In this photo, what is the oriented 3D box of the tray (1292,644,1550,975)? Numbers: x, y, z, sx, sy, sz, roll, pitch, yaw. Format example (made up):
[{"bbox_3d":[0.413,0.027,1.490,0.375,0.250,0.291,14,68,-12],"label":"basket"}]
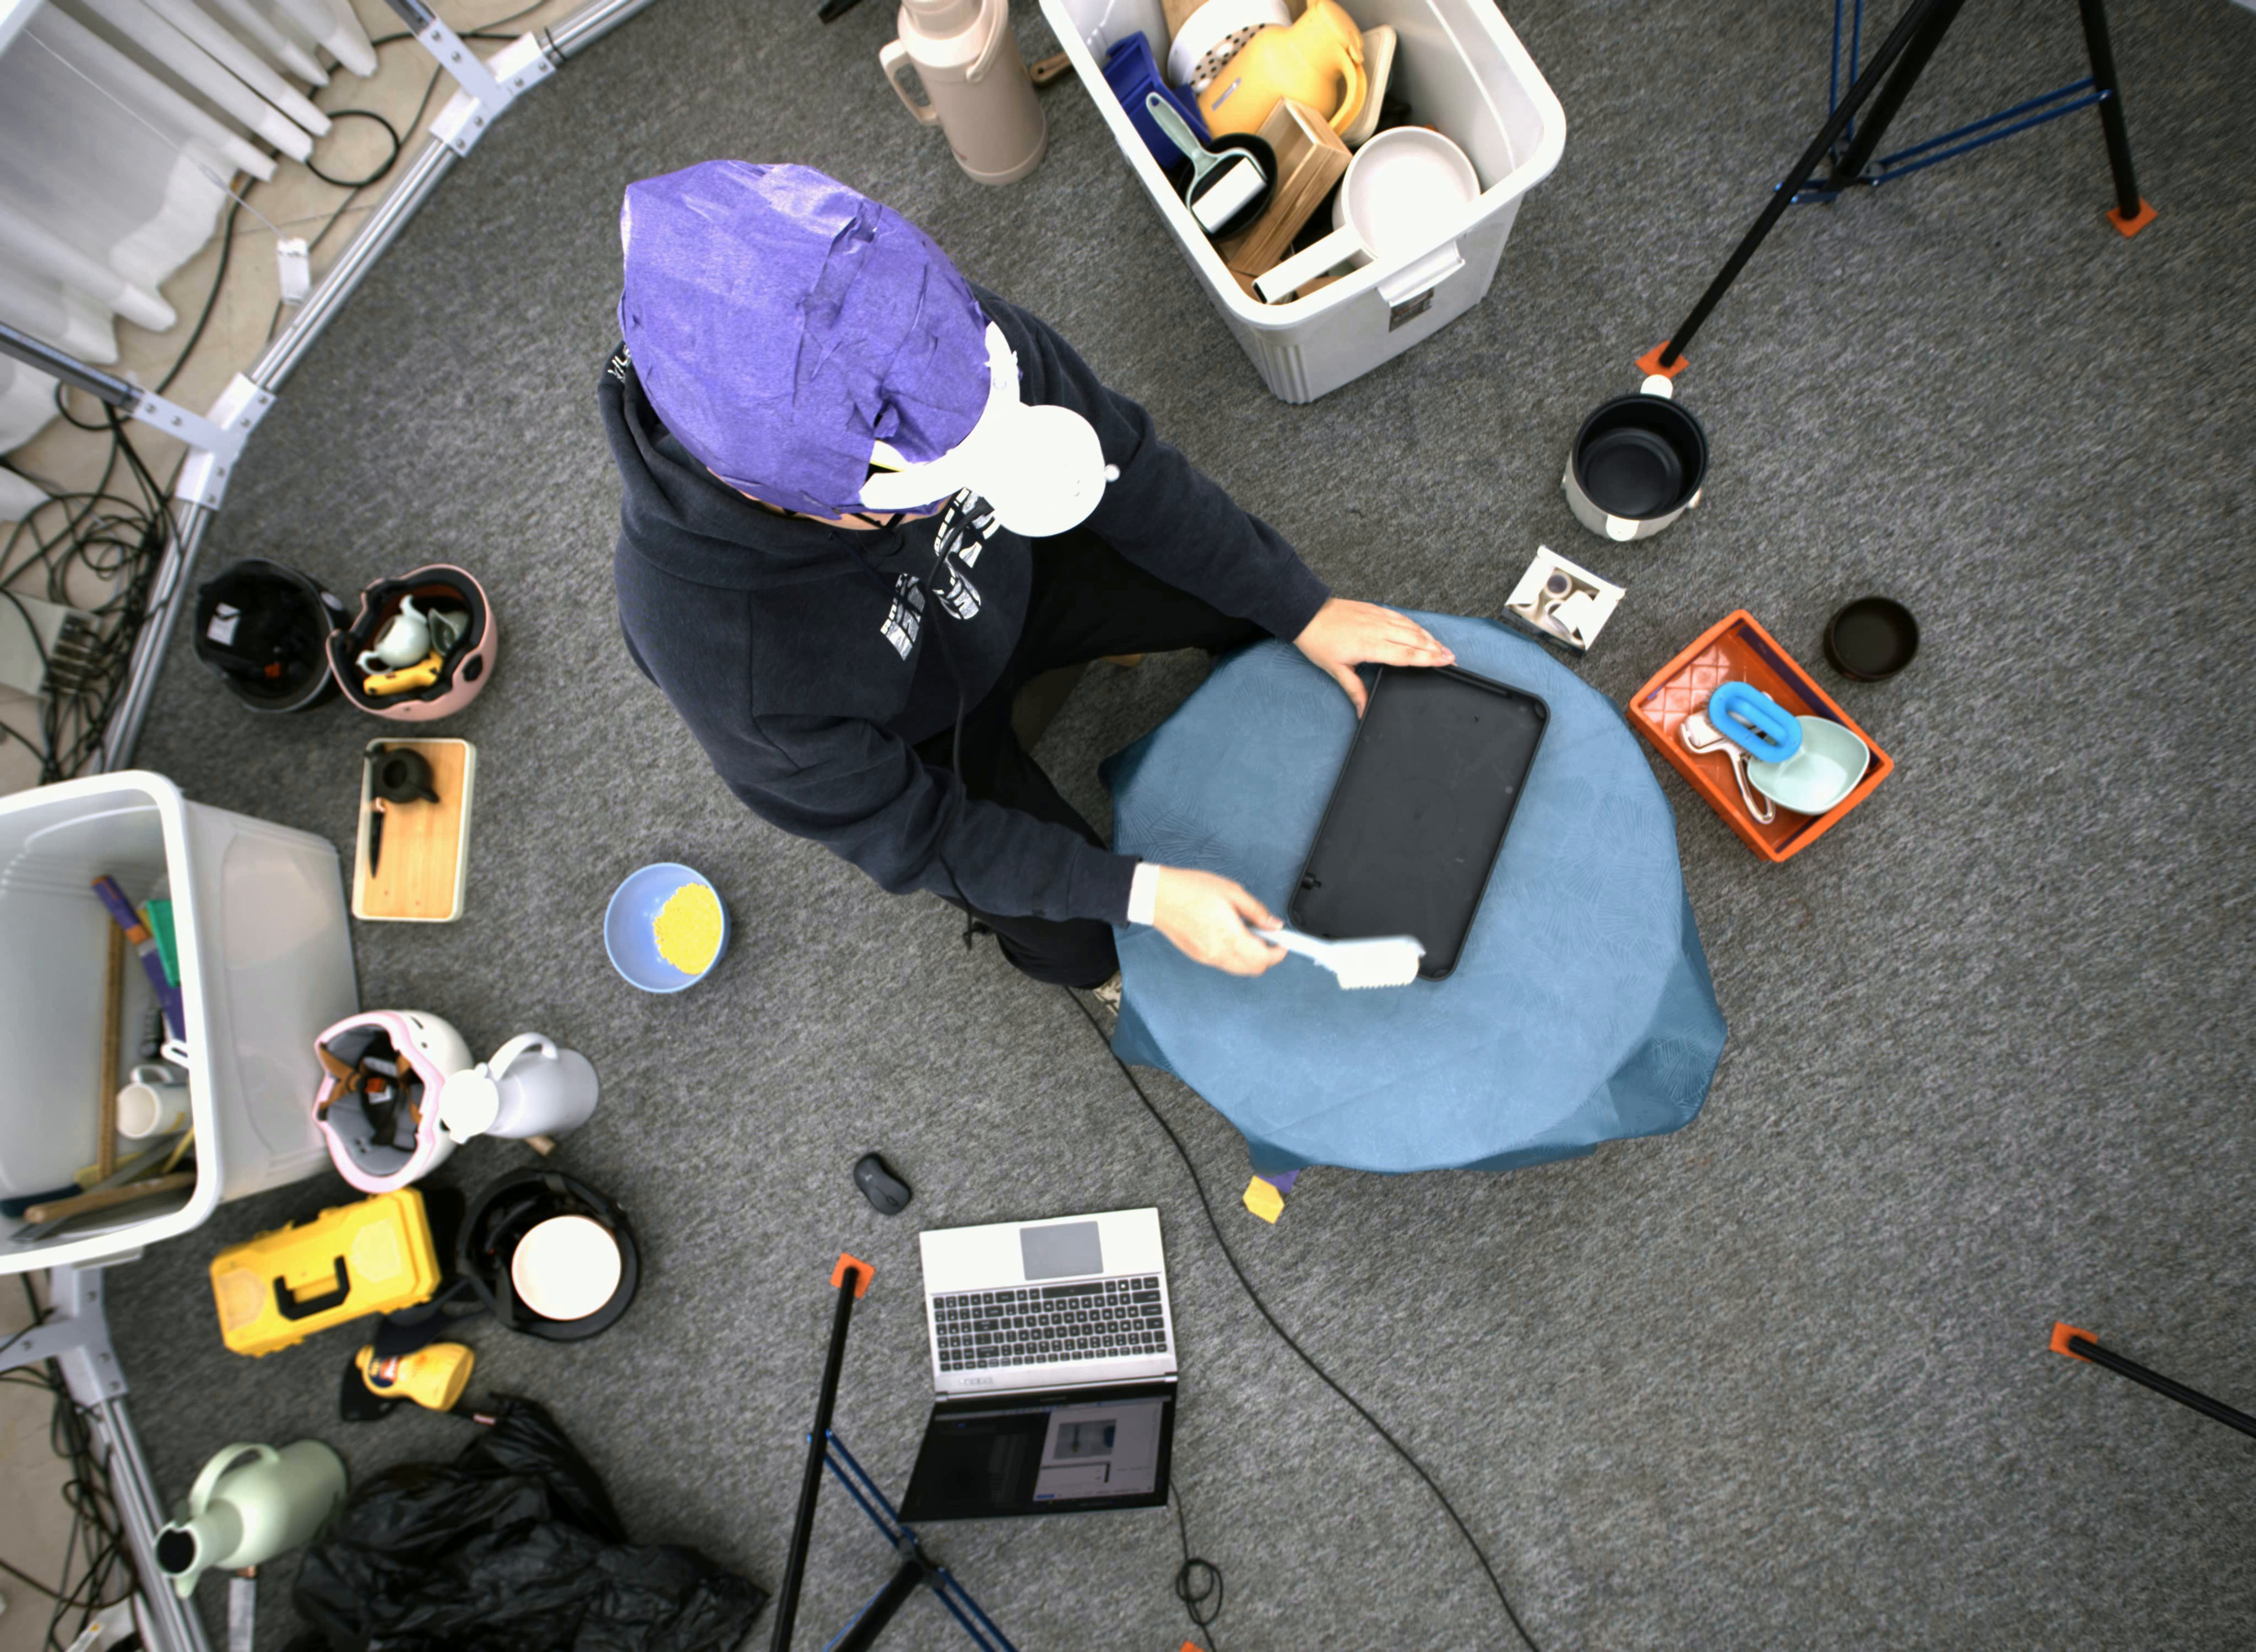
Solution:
[{"bbox_3d":[0.306,-0.019,1.441,0.184,0.037,0.318,20,91,12],"label":"tray"}]

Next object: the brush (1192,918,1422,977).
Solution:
[{"bbox_3d":[0.173,0.117,1.361,0.230,0.037,0.051,4,131,19],"label":"brush"}]
